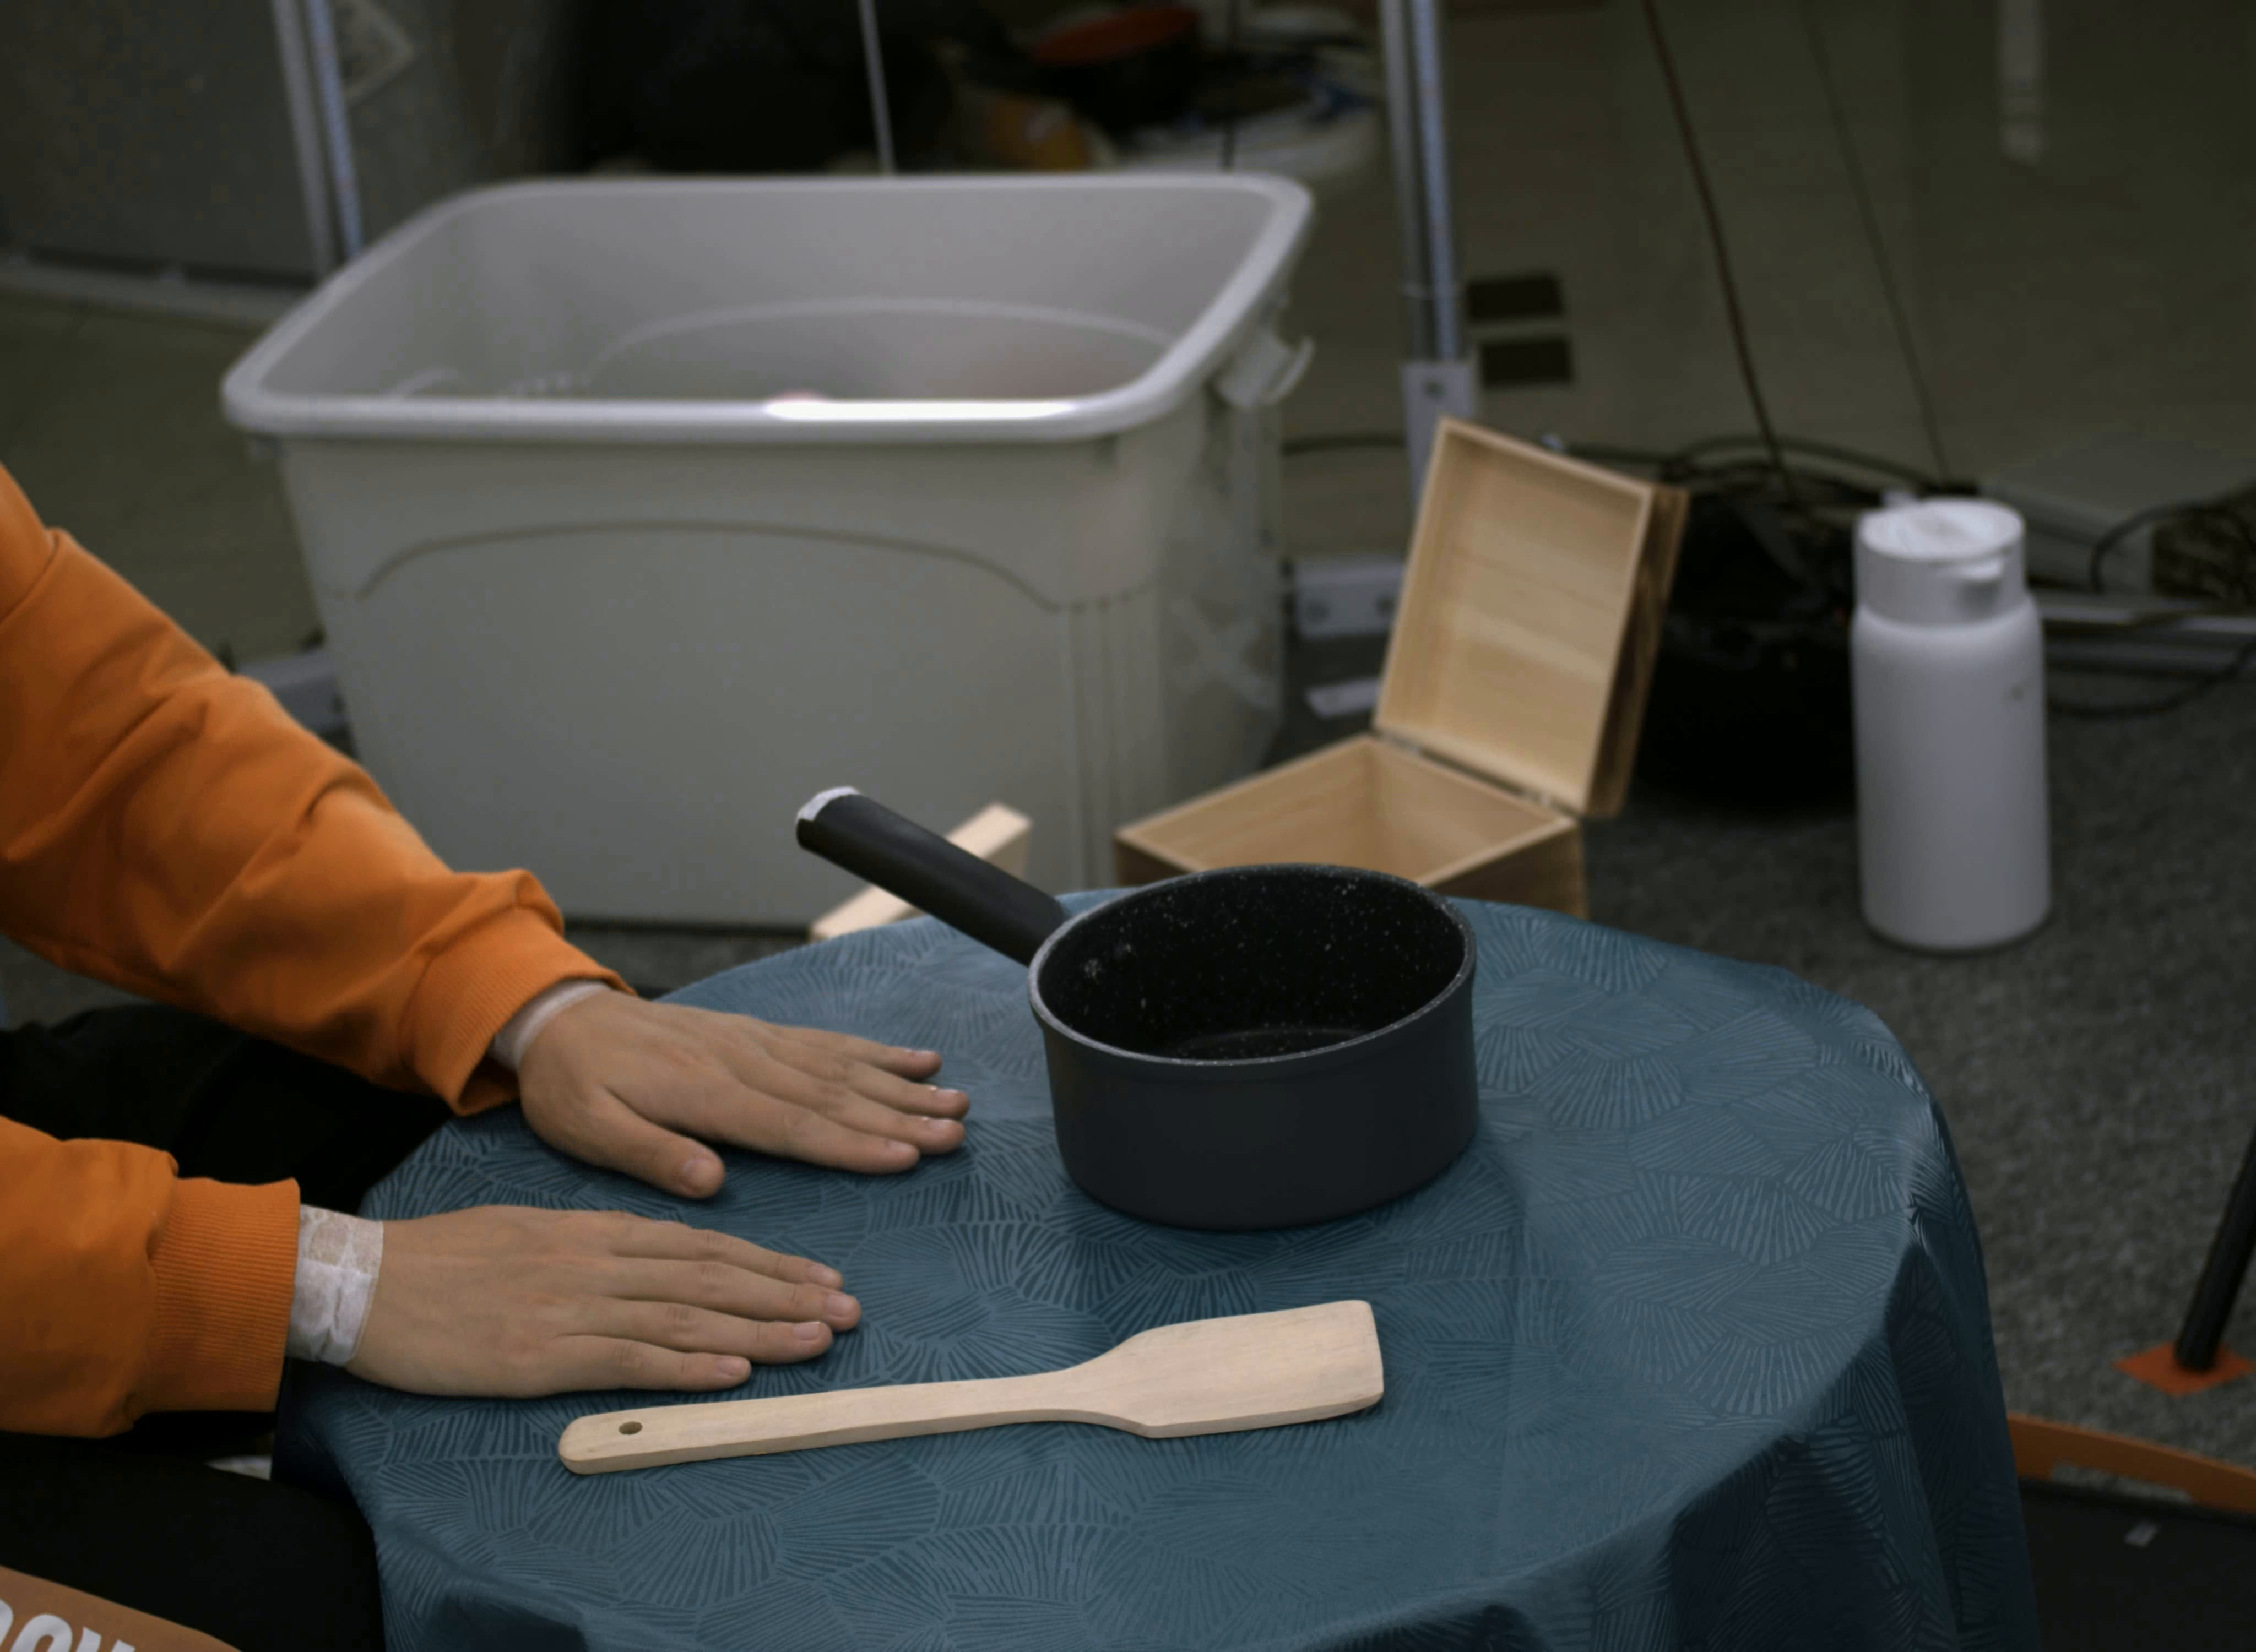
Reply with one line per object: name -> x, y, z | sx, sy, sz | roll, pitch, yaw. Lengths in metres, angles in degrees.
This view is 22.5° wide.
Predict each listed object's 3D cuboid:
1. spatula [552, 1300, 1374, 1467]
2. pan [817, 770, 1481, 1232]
spatula -> -0.059, 0.204, 2.010 | 0.292, 0.011, 0.071 | -6, 29, 1
pan -> -0.004, 0.062, 2.212 | 0.170, 0.088, 0.326 | -26, 33, -36
